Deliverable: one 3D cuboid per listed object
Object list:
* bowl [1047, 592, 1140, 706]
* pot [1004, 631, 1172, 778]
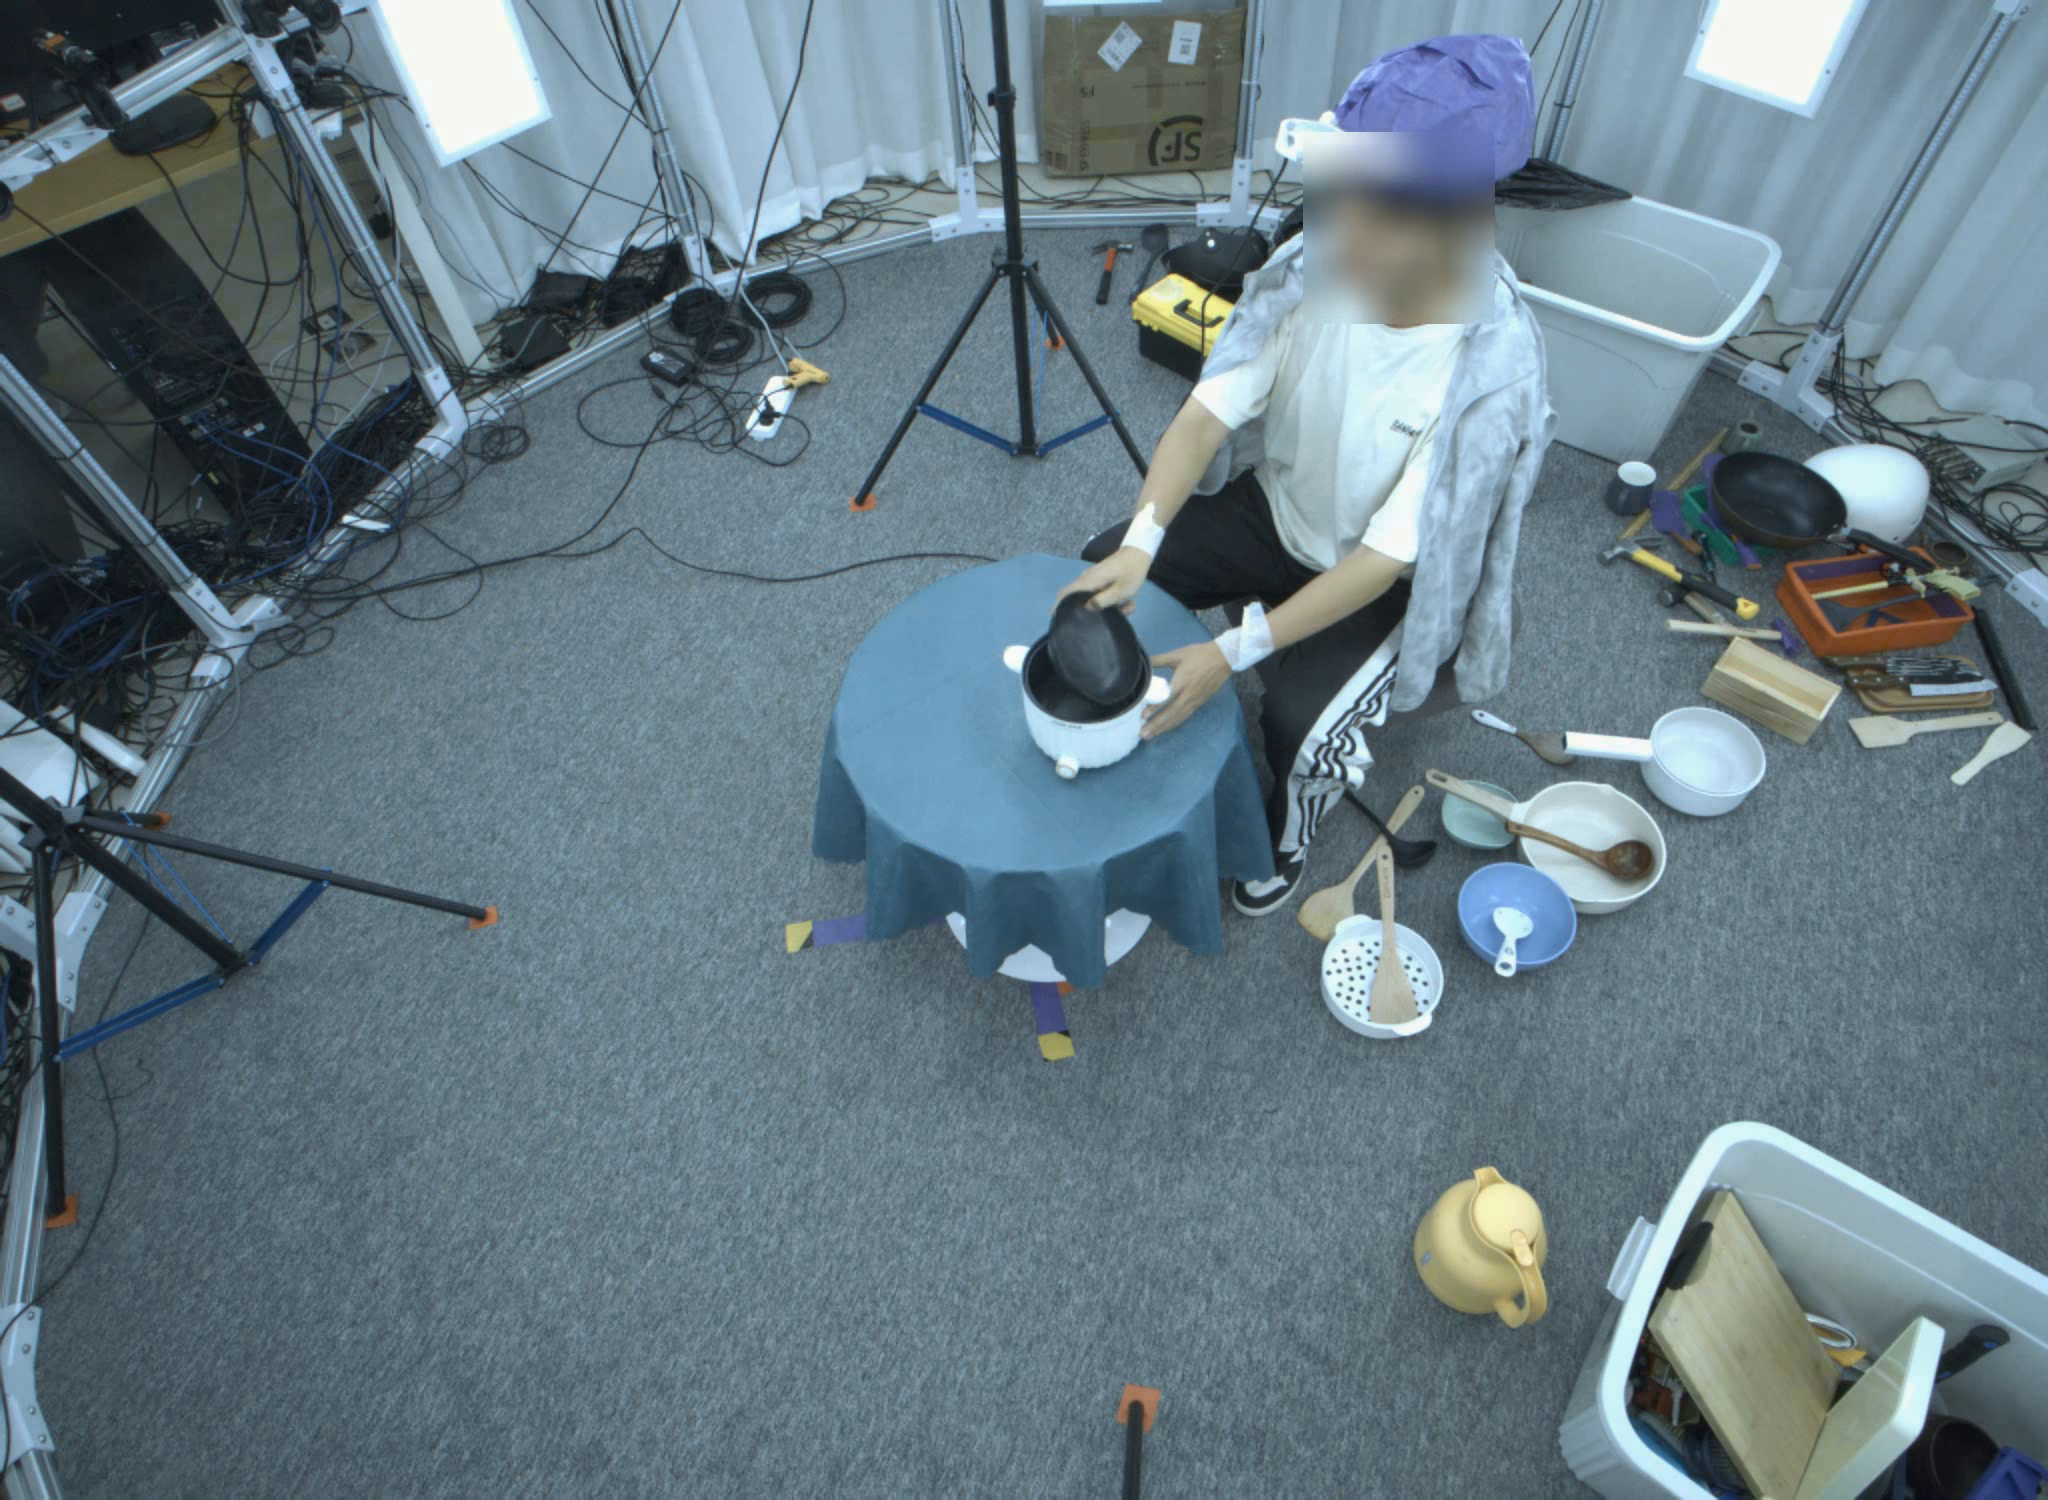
[{"bbox_3d":[0.082,-0.133,1.680,0.140,0.066,0.169,3,70,-31],"label":"bowl"},{"bbox_3d":[0.089,-0.067,1.748,0.238,0.144,0.190,13,53,12],"label":"pot"}]
